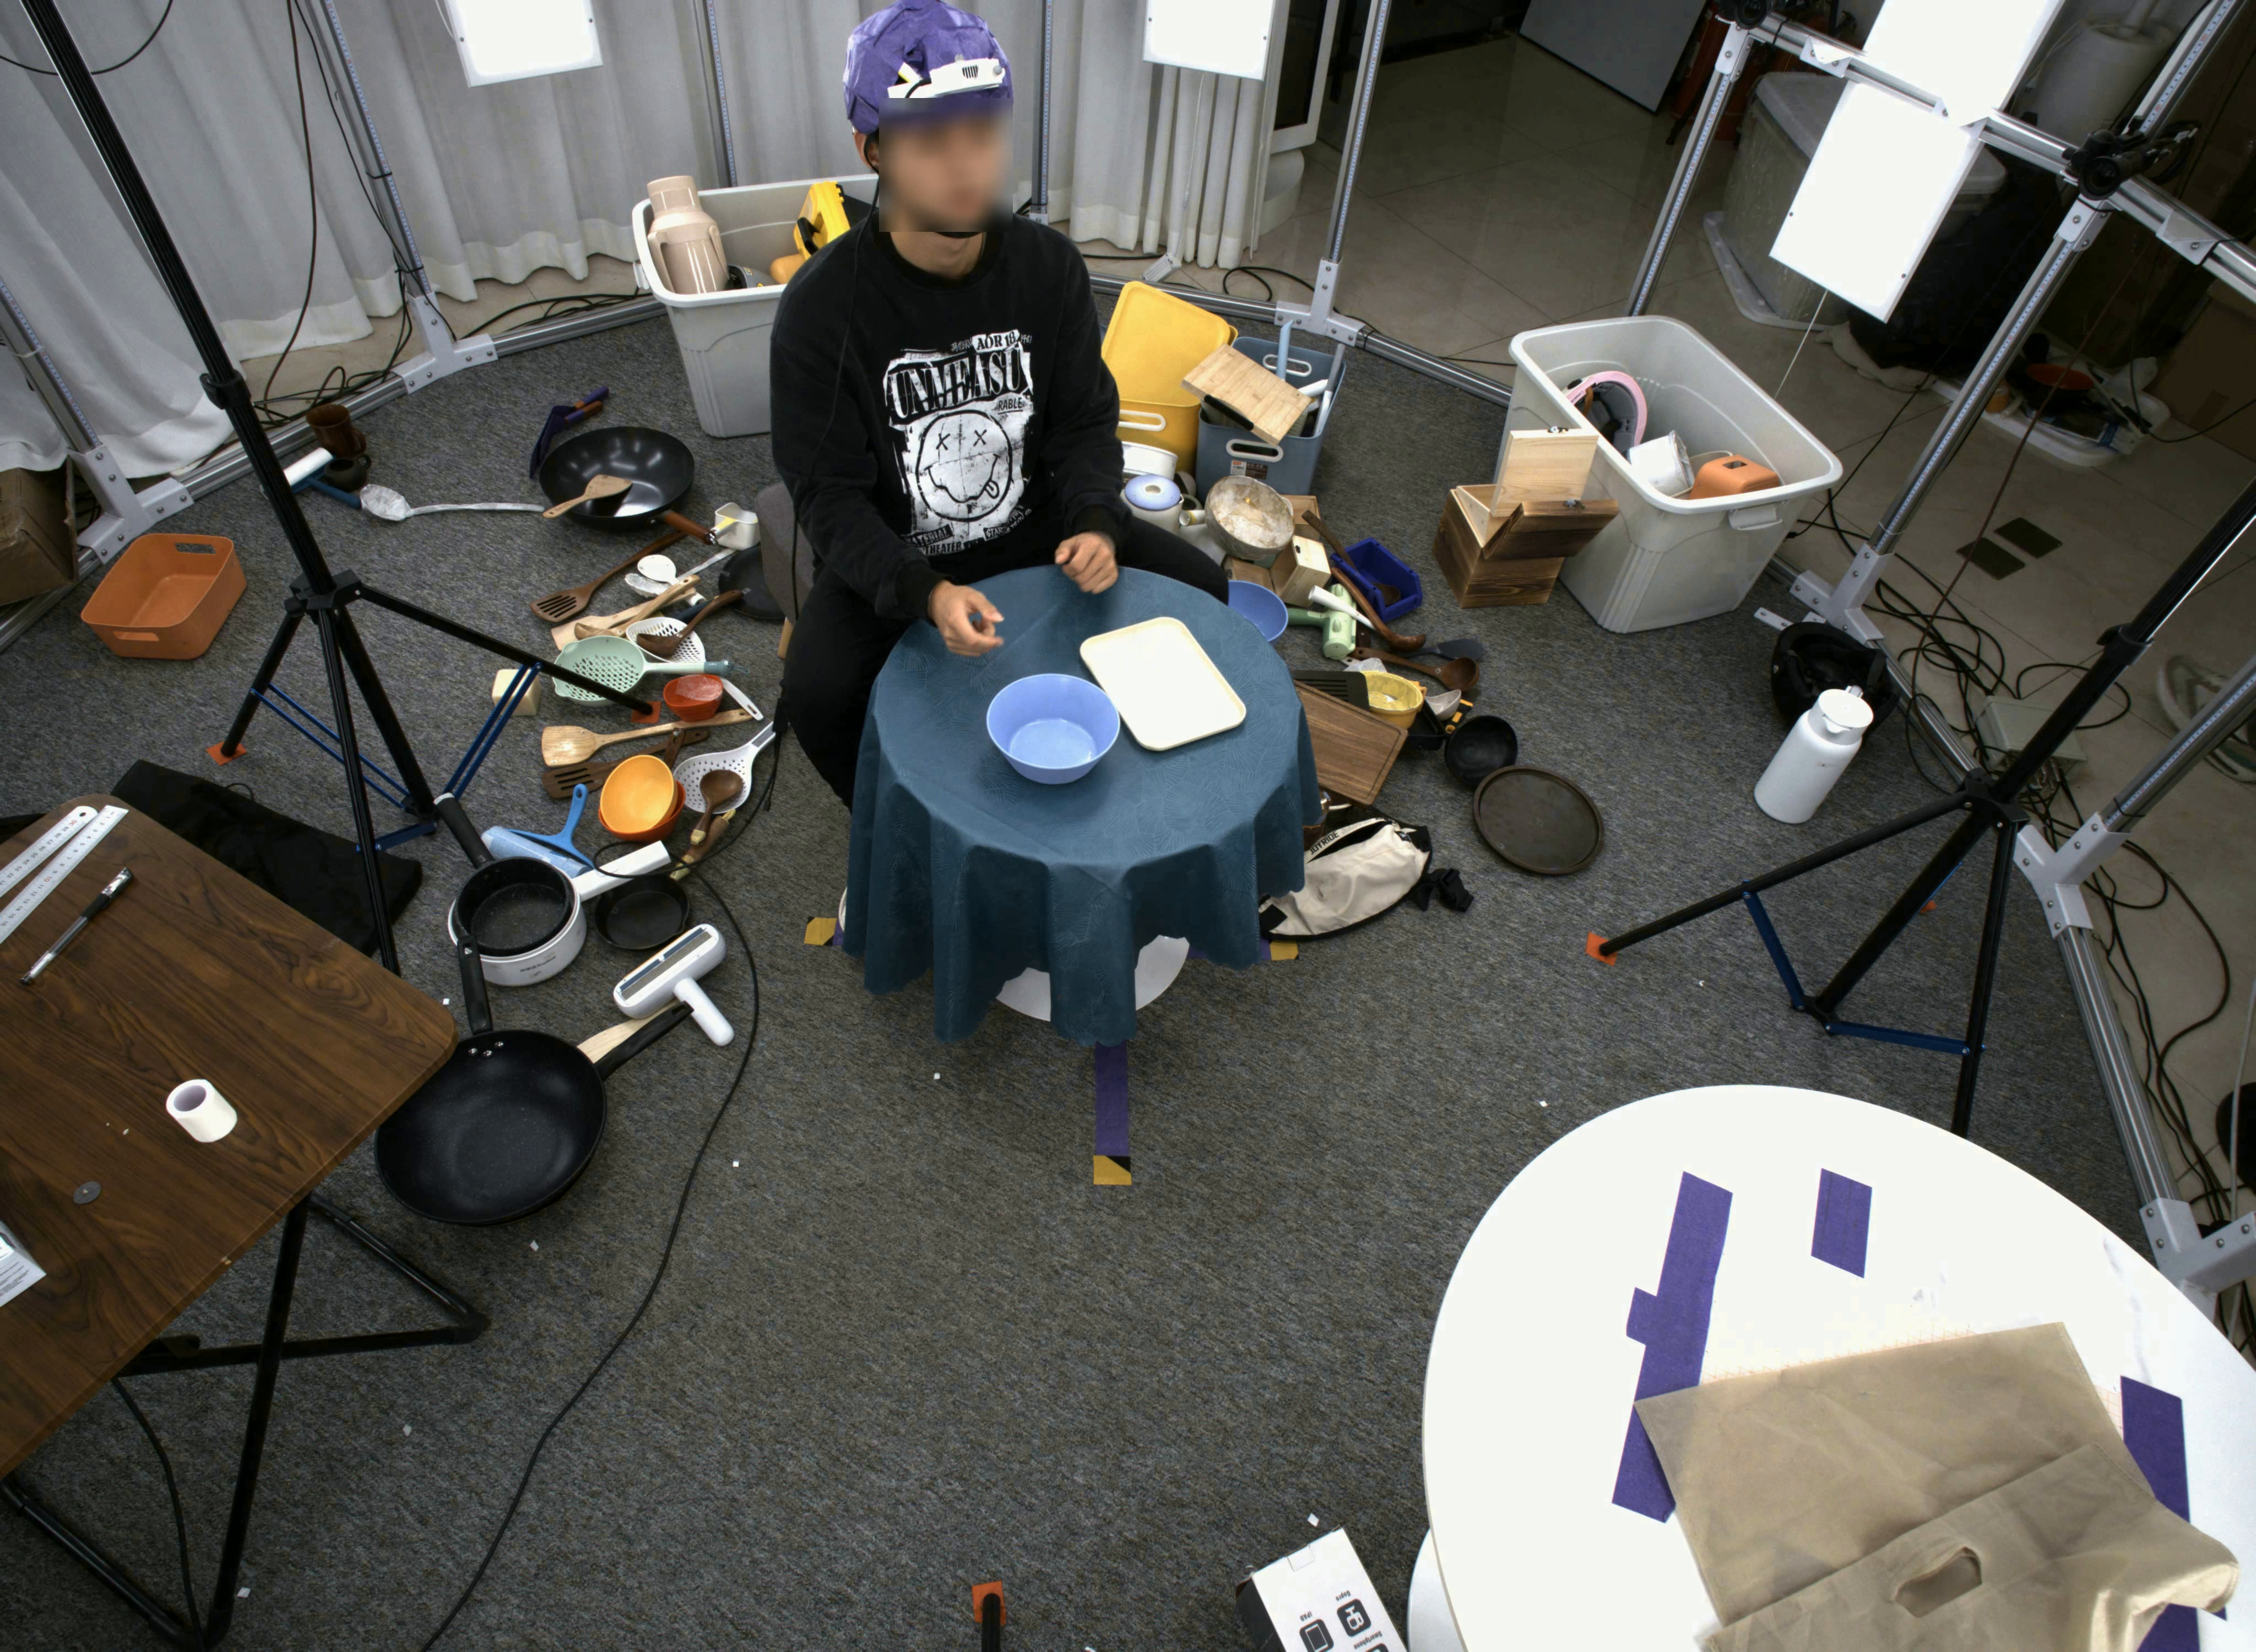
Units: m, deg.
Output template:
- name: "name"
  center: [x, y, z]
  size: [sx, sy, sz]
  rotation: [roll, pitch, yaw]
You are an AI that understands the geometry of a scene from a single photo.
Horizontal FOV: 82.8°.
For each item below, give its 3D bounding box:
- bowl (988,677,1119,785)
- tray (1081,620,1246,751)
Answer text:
- name: "bowl"
  center: [-0.102, -0.120, 1.735]
  size: [0.176, 0.068, 0.180]
  rotation: [2, 48, -3]
- name: "tray"
  center: [0.049, -0.205, 1.854]
  size: [0.171, 0.017, 0.245]
  rotation: [-18, 52, -19]
